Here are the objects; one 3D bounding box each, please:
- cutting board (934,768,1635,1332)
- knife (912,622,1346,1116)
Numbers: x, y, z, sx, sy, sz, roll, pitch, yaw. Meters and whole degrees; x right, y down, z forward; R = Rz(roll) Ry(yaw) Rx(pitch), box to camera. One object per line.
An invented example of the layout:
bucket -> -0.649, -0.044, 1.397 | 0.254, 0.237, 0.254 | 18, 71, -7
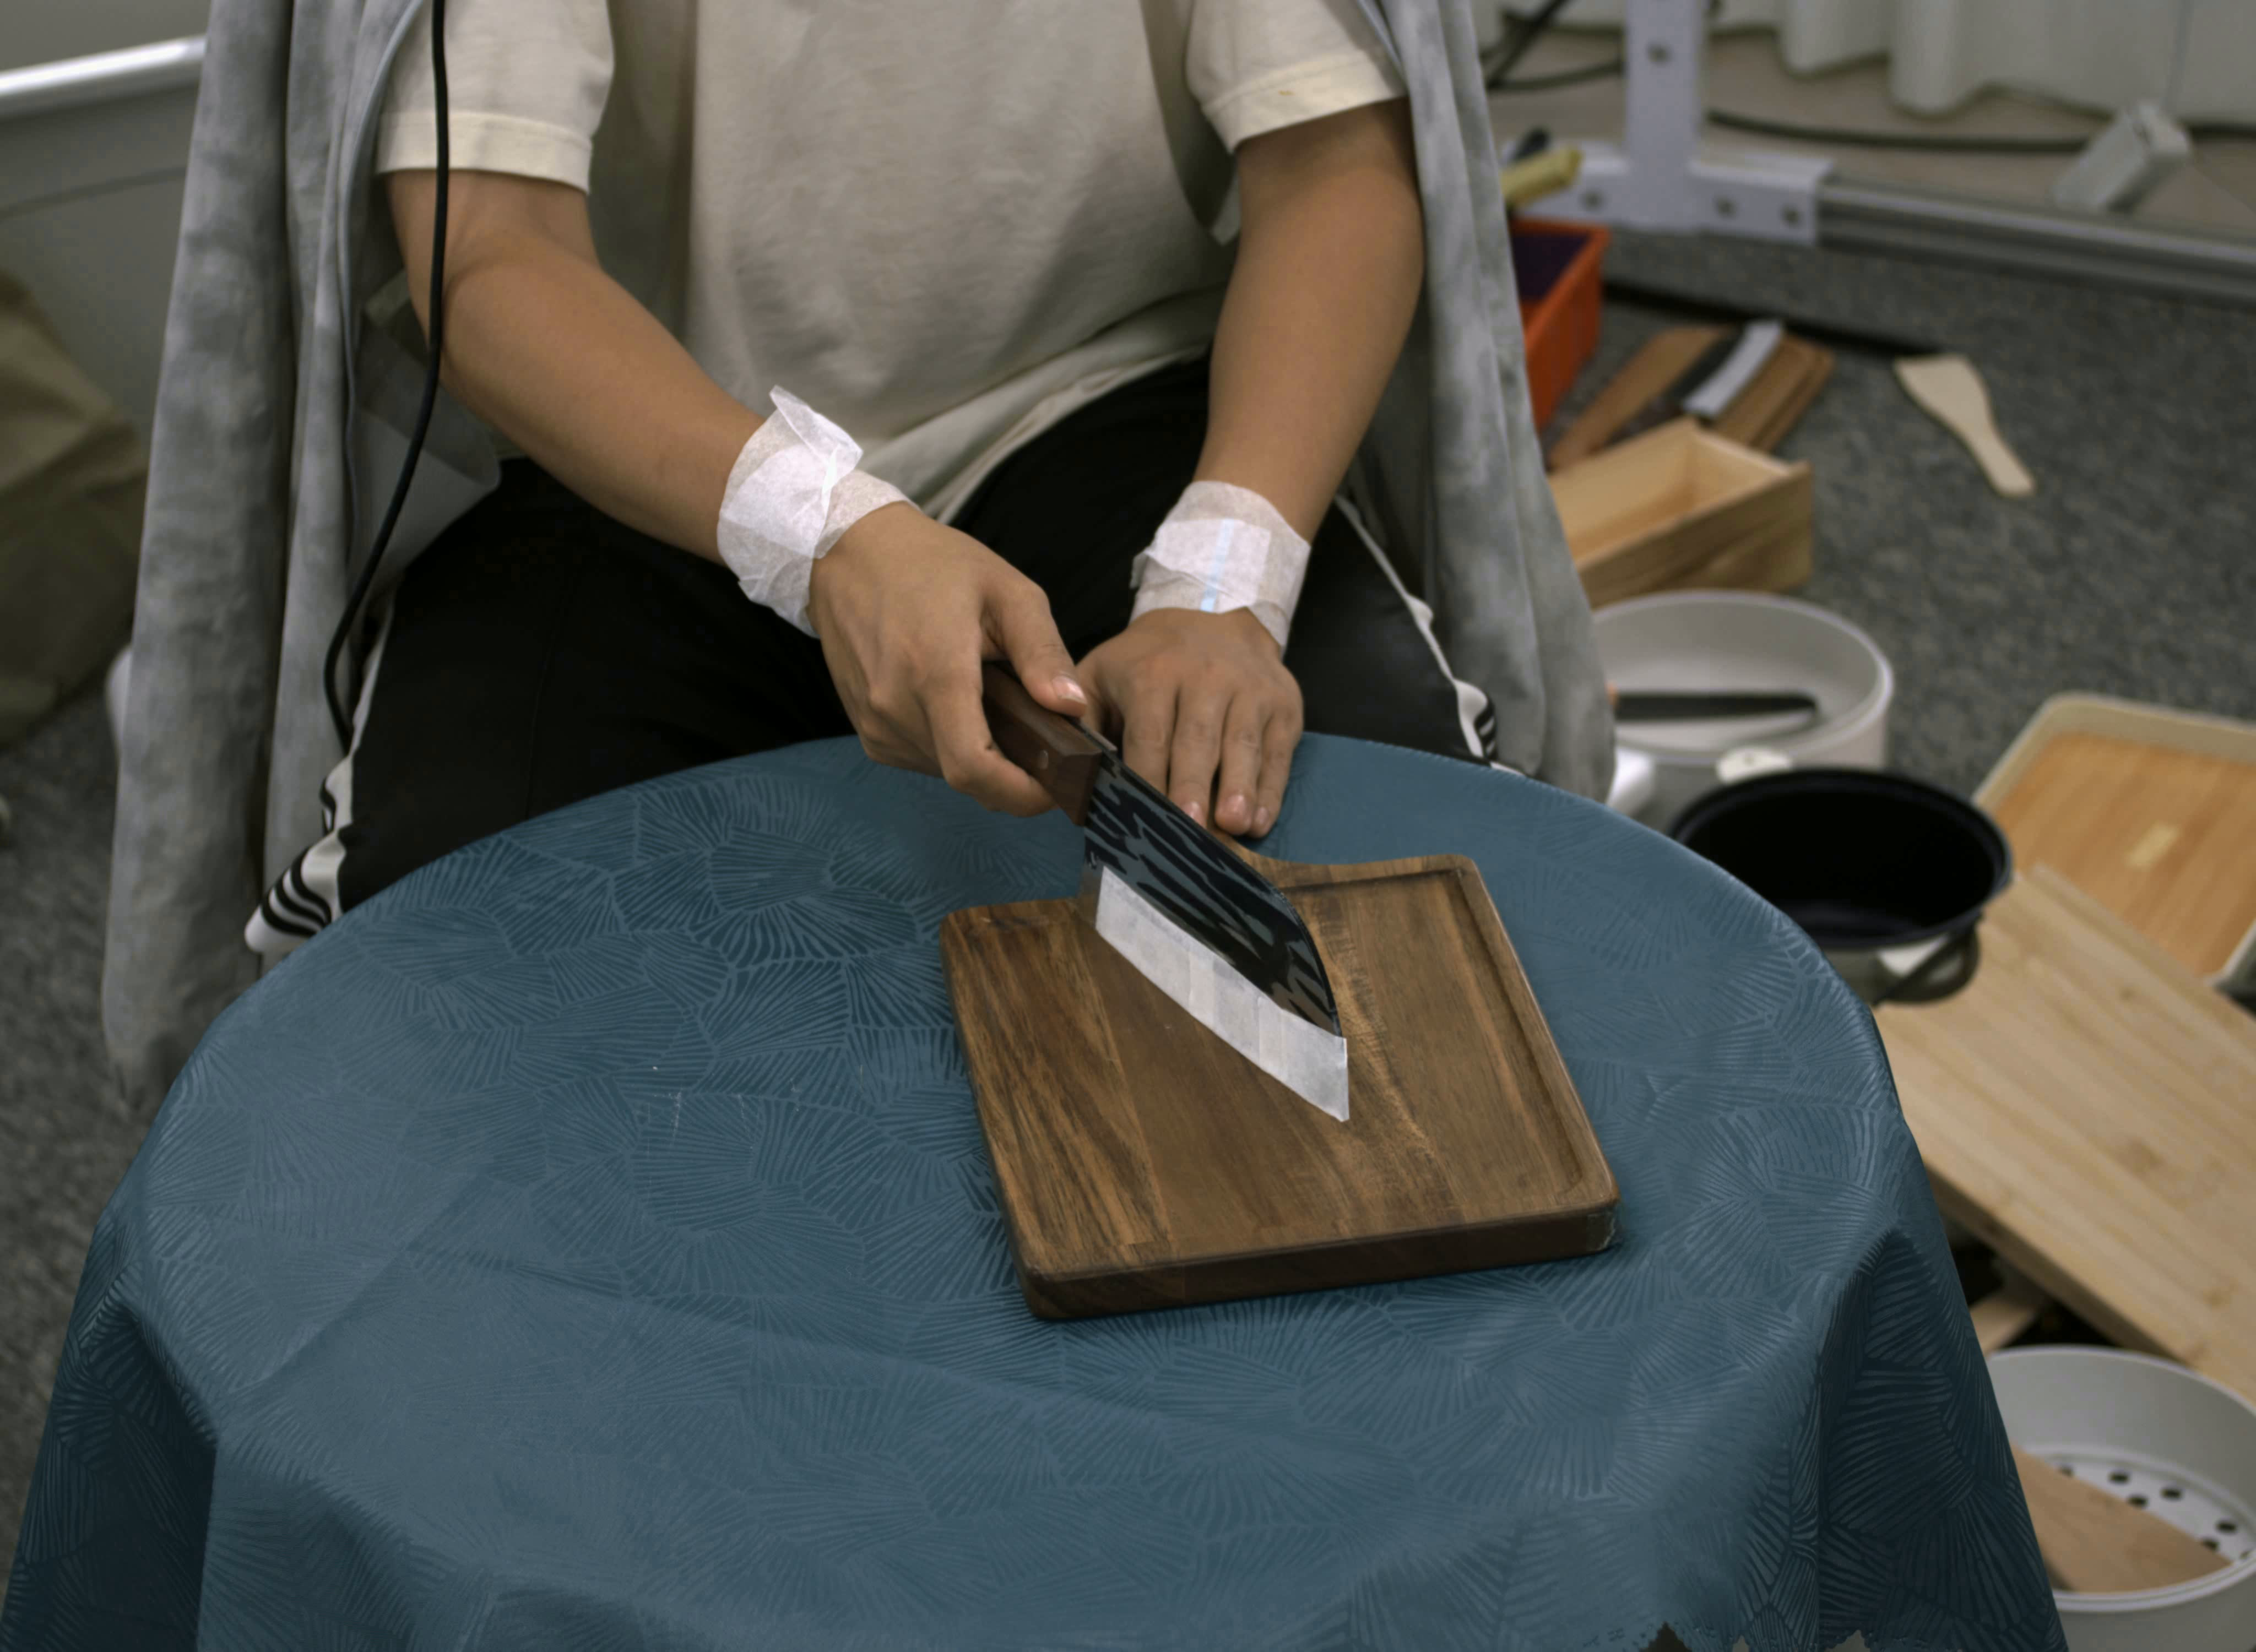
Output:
cutting board -> 0.040, 0.064, 1.951 | 0.200, 0.023, 0.356 | -8, 27, -6
knife -> 0.000, 0.012, 1.961 | 0.024, 0.067, 0.301 | -7, 29, -30
